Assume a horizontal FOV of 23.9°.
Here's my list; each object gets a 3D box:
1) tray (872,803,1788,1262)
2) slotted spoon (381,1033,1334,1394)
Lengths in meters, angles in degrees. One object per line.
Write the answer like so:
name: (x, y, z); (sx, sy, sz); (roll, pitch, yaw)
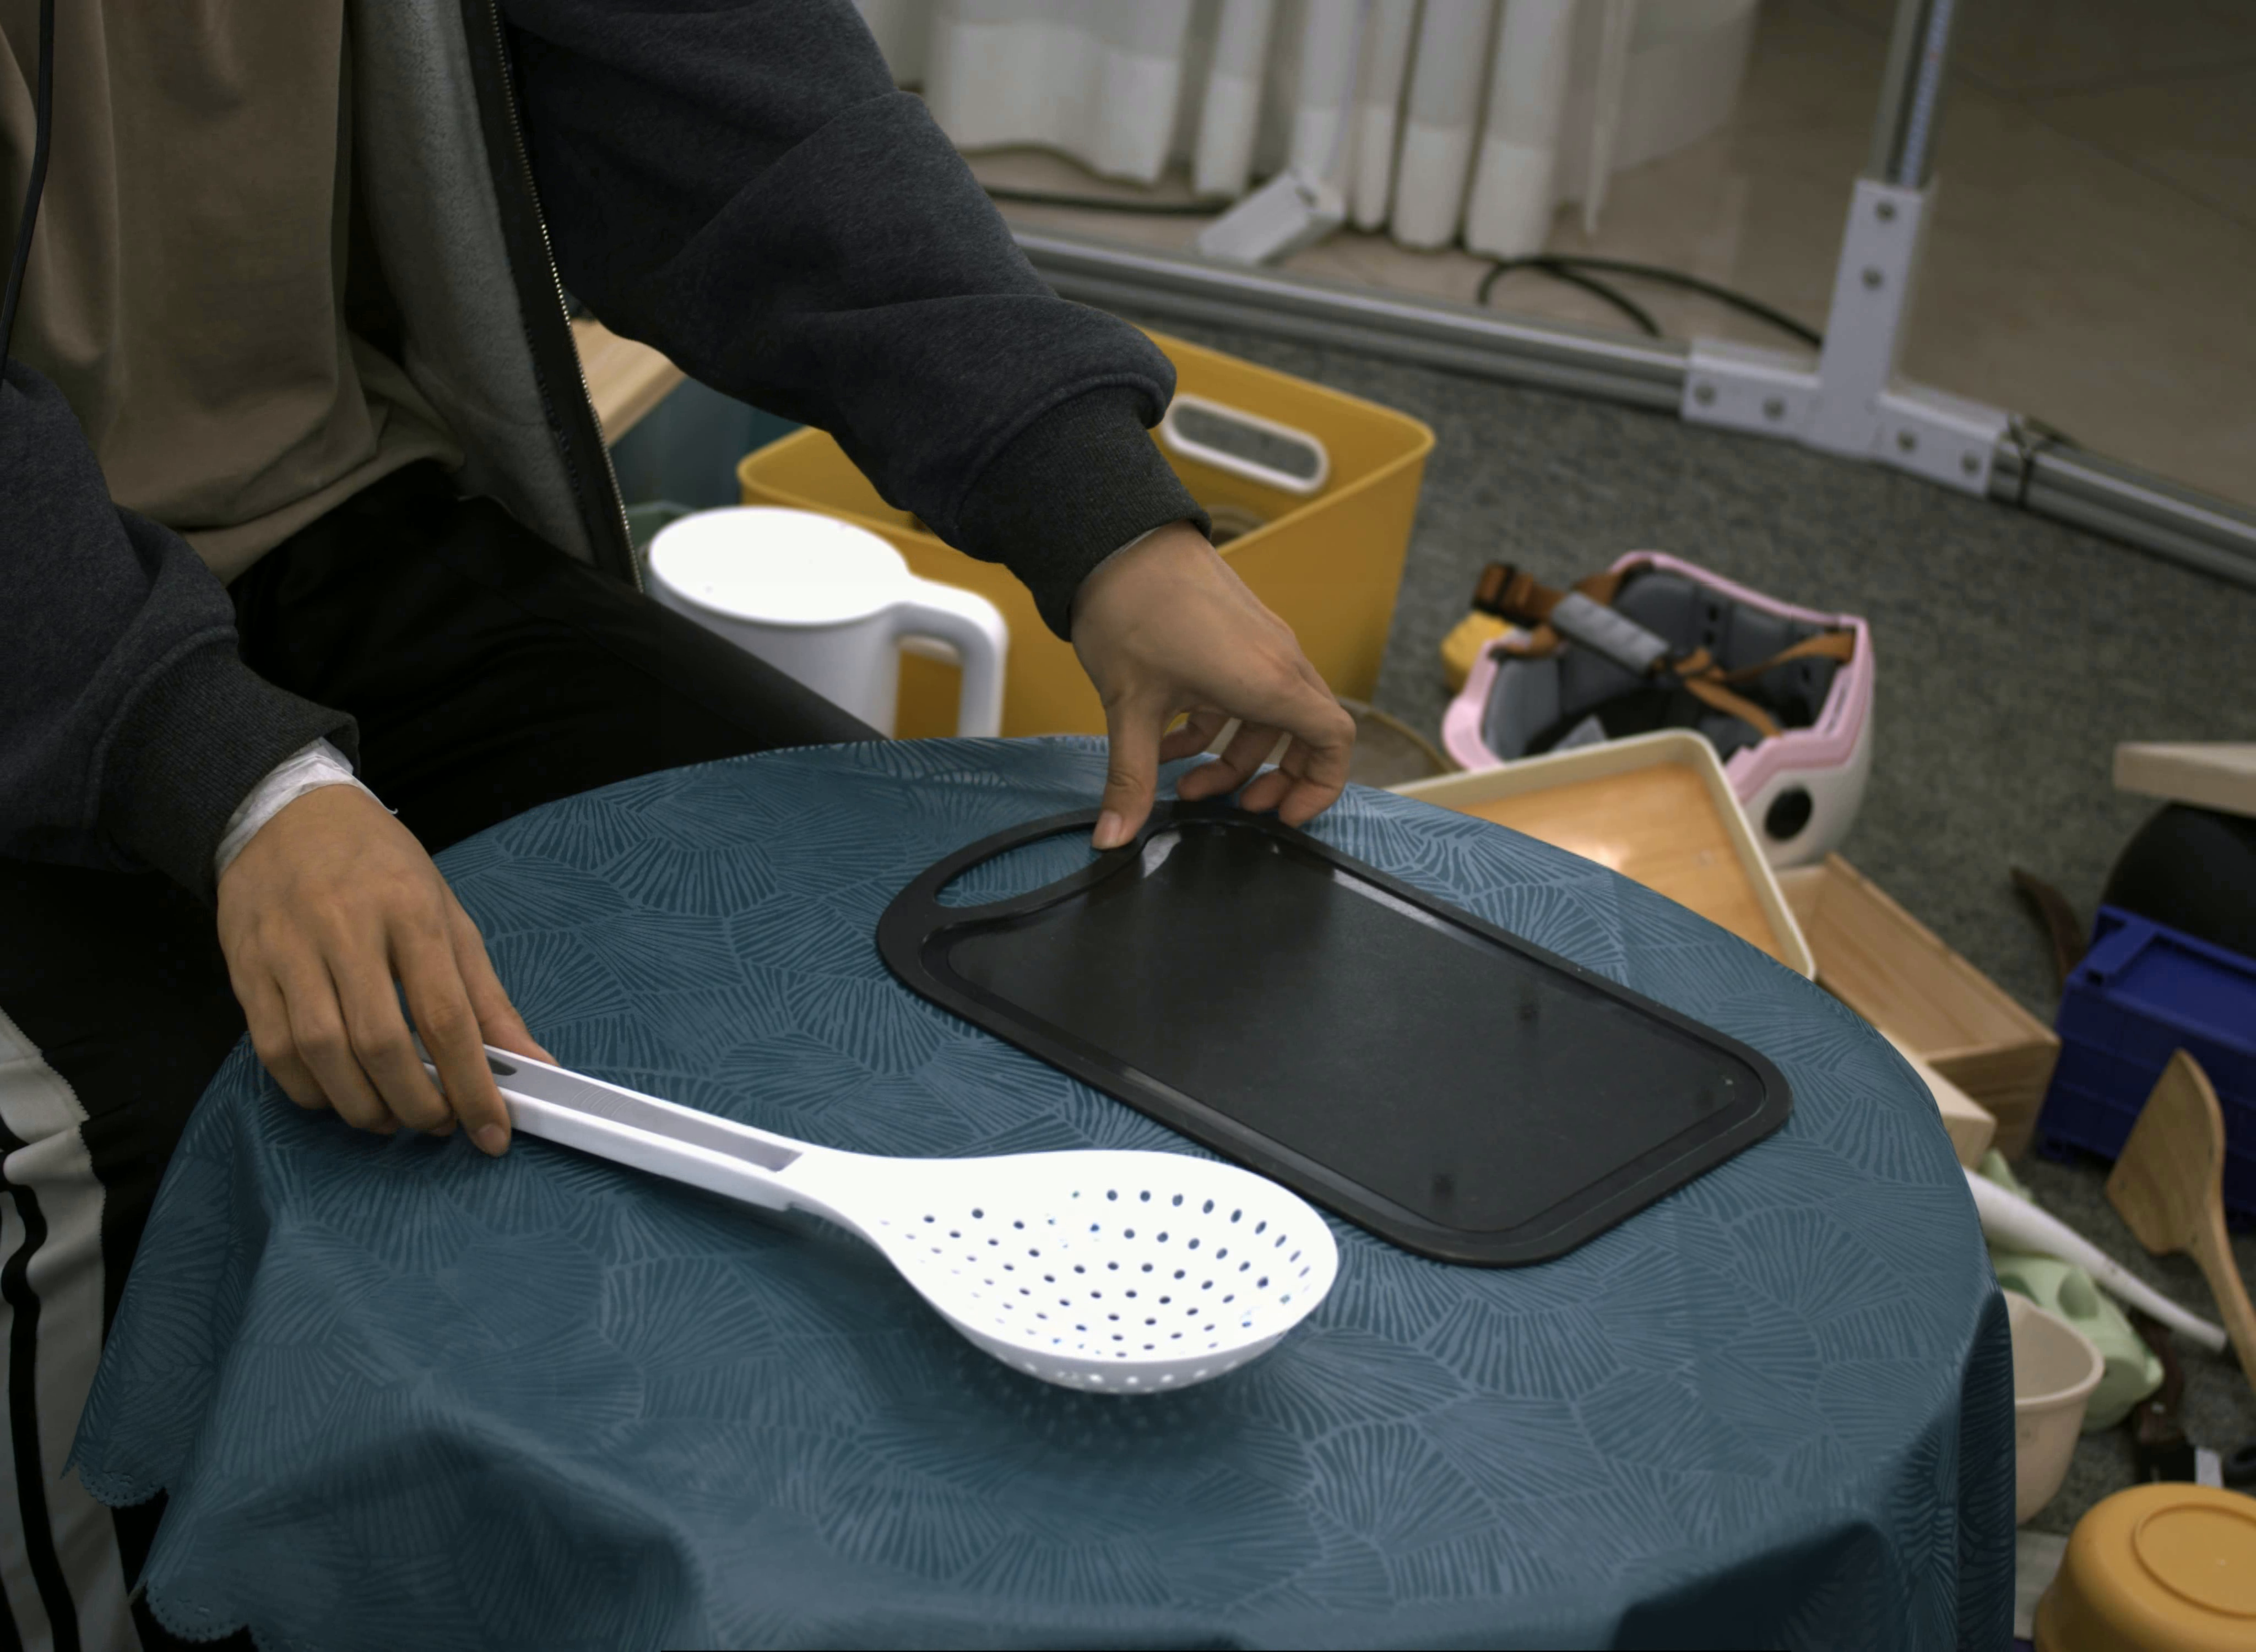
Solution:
tray: (0.065, 0.065, 1.923); (0.327, 0.010, 0.210); (26, 33, 34)
slotted spoon: (-0.097, 0.119, 1.739); (0.351, 0.045, 0.136); (18, 28, 24)
